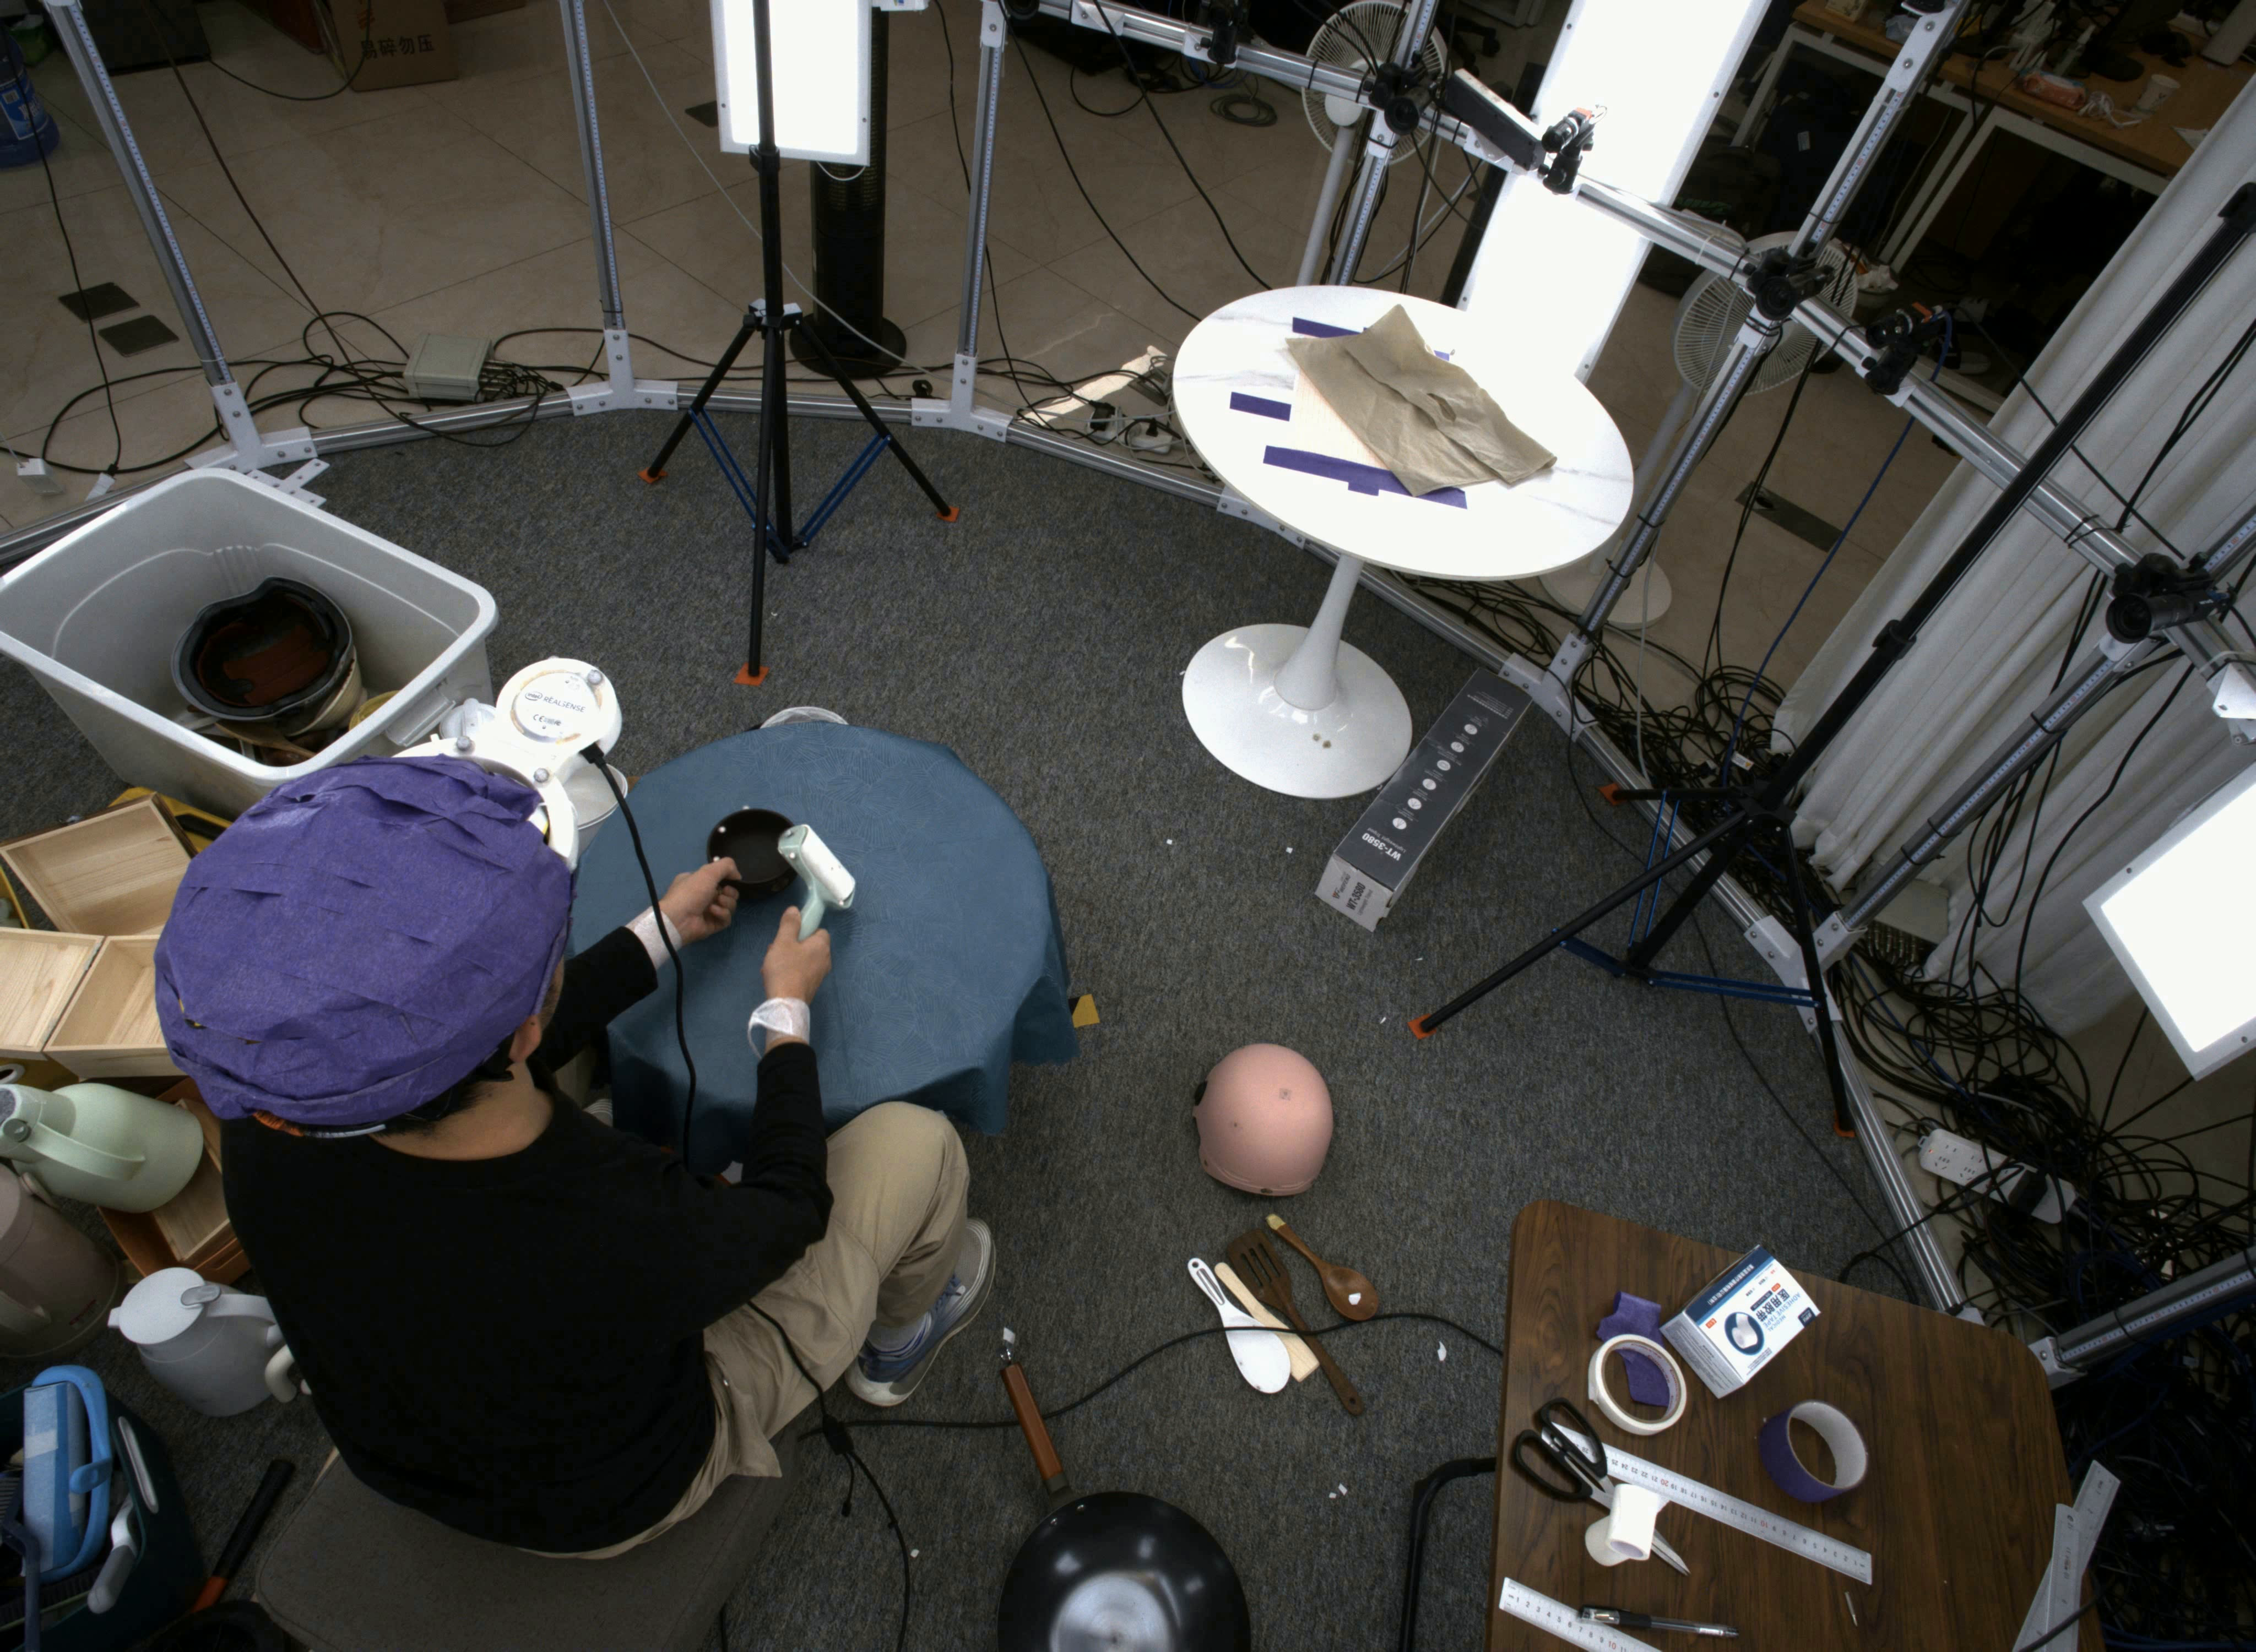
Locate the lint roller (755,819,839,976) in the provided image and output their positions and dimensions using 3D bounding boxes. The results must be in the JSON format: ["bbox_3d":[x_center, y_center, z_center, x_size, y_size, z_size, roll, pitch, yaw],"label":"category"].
[{"bbox_3d":[-0.403,0.091,1.537,0.047,0.121,0.193,-18,41,17],"label":"lint roller"}]

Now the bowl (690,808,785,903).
[{"bbox_3d":[-0.486,0.043,1.622,0.118,0.071,0.116,7,56,-9],"label":"bowl"}]
